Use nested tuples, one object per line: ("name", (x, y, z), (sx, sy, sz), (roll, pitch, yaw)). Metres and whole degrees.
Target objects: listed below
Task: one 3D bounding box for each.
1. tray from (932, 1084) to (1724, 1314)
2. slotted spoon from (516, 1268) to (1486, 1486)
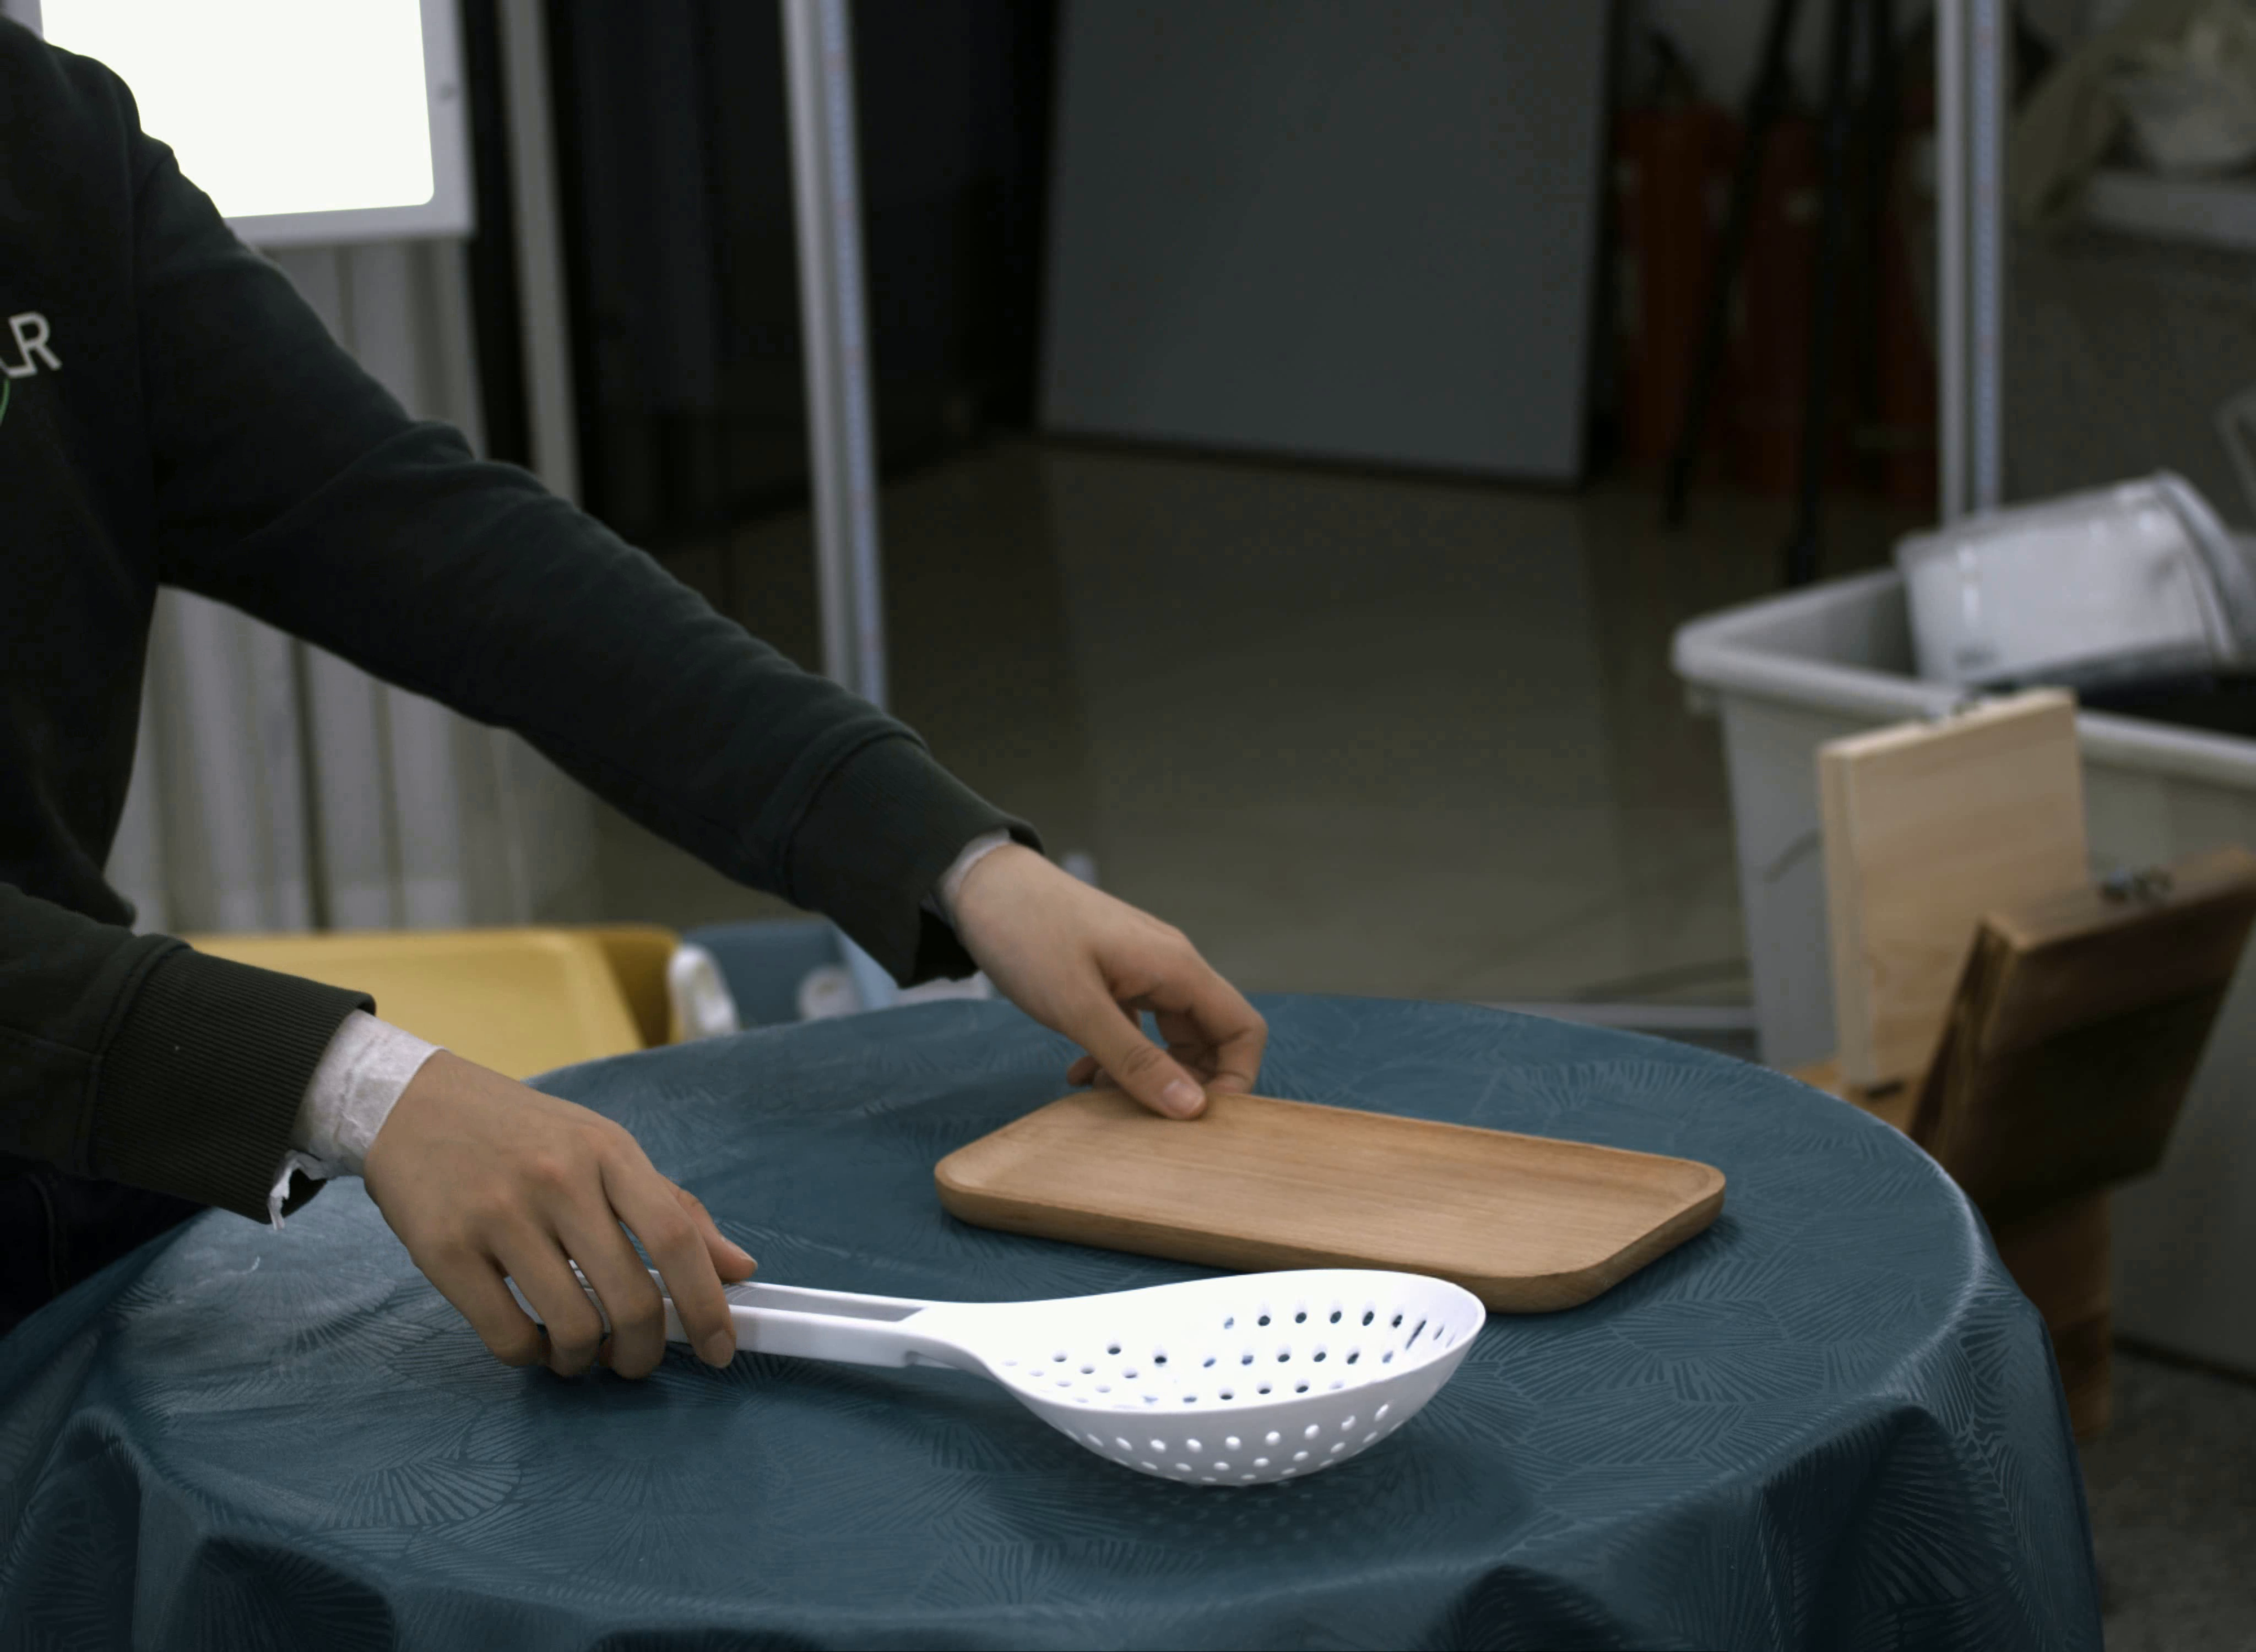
("tray", (0.063, 0.118, 1.731), (0.252, 0.023, 0.128), (5, 15, 36))
("slotted spoon", (-0.049, 0.149, 1.577), (0.352, 0.046, 0.133), (6, 15, 39))
